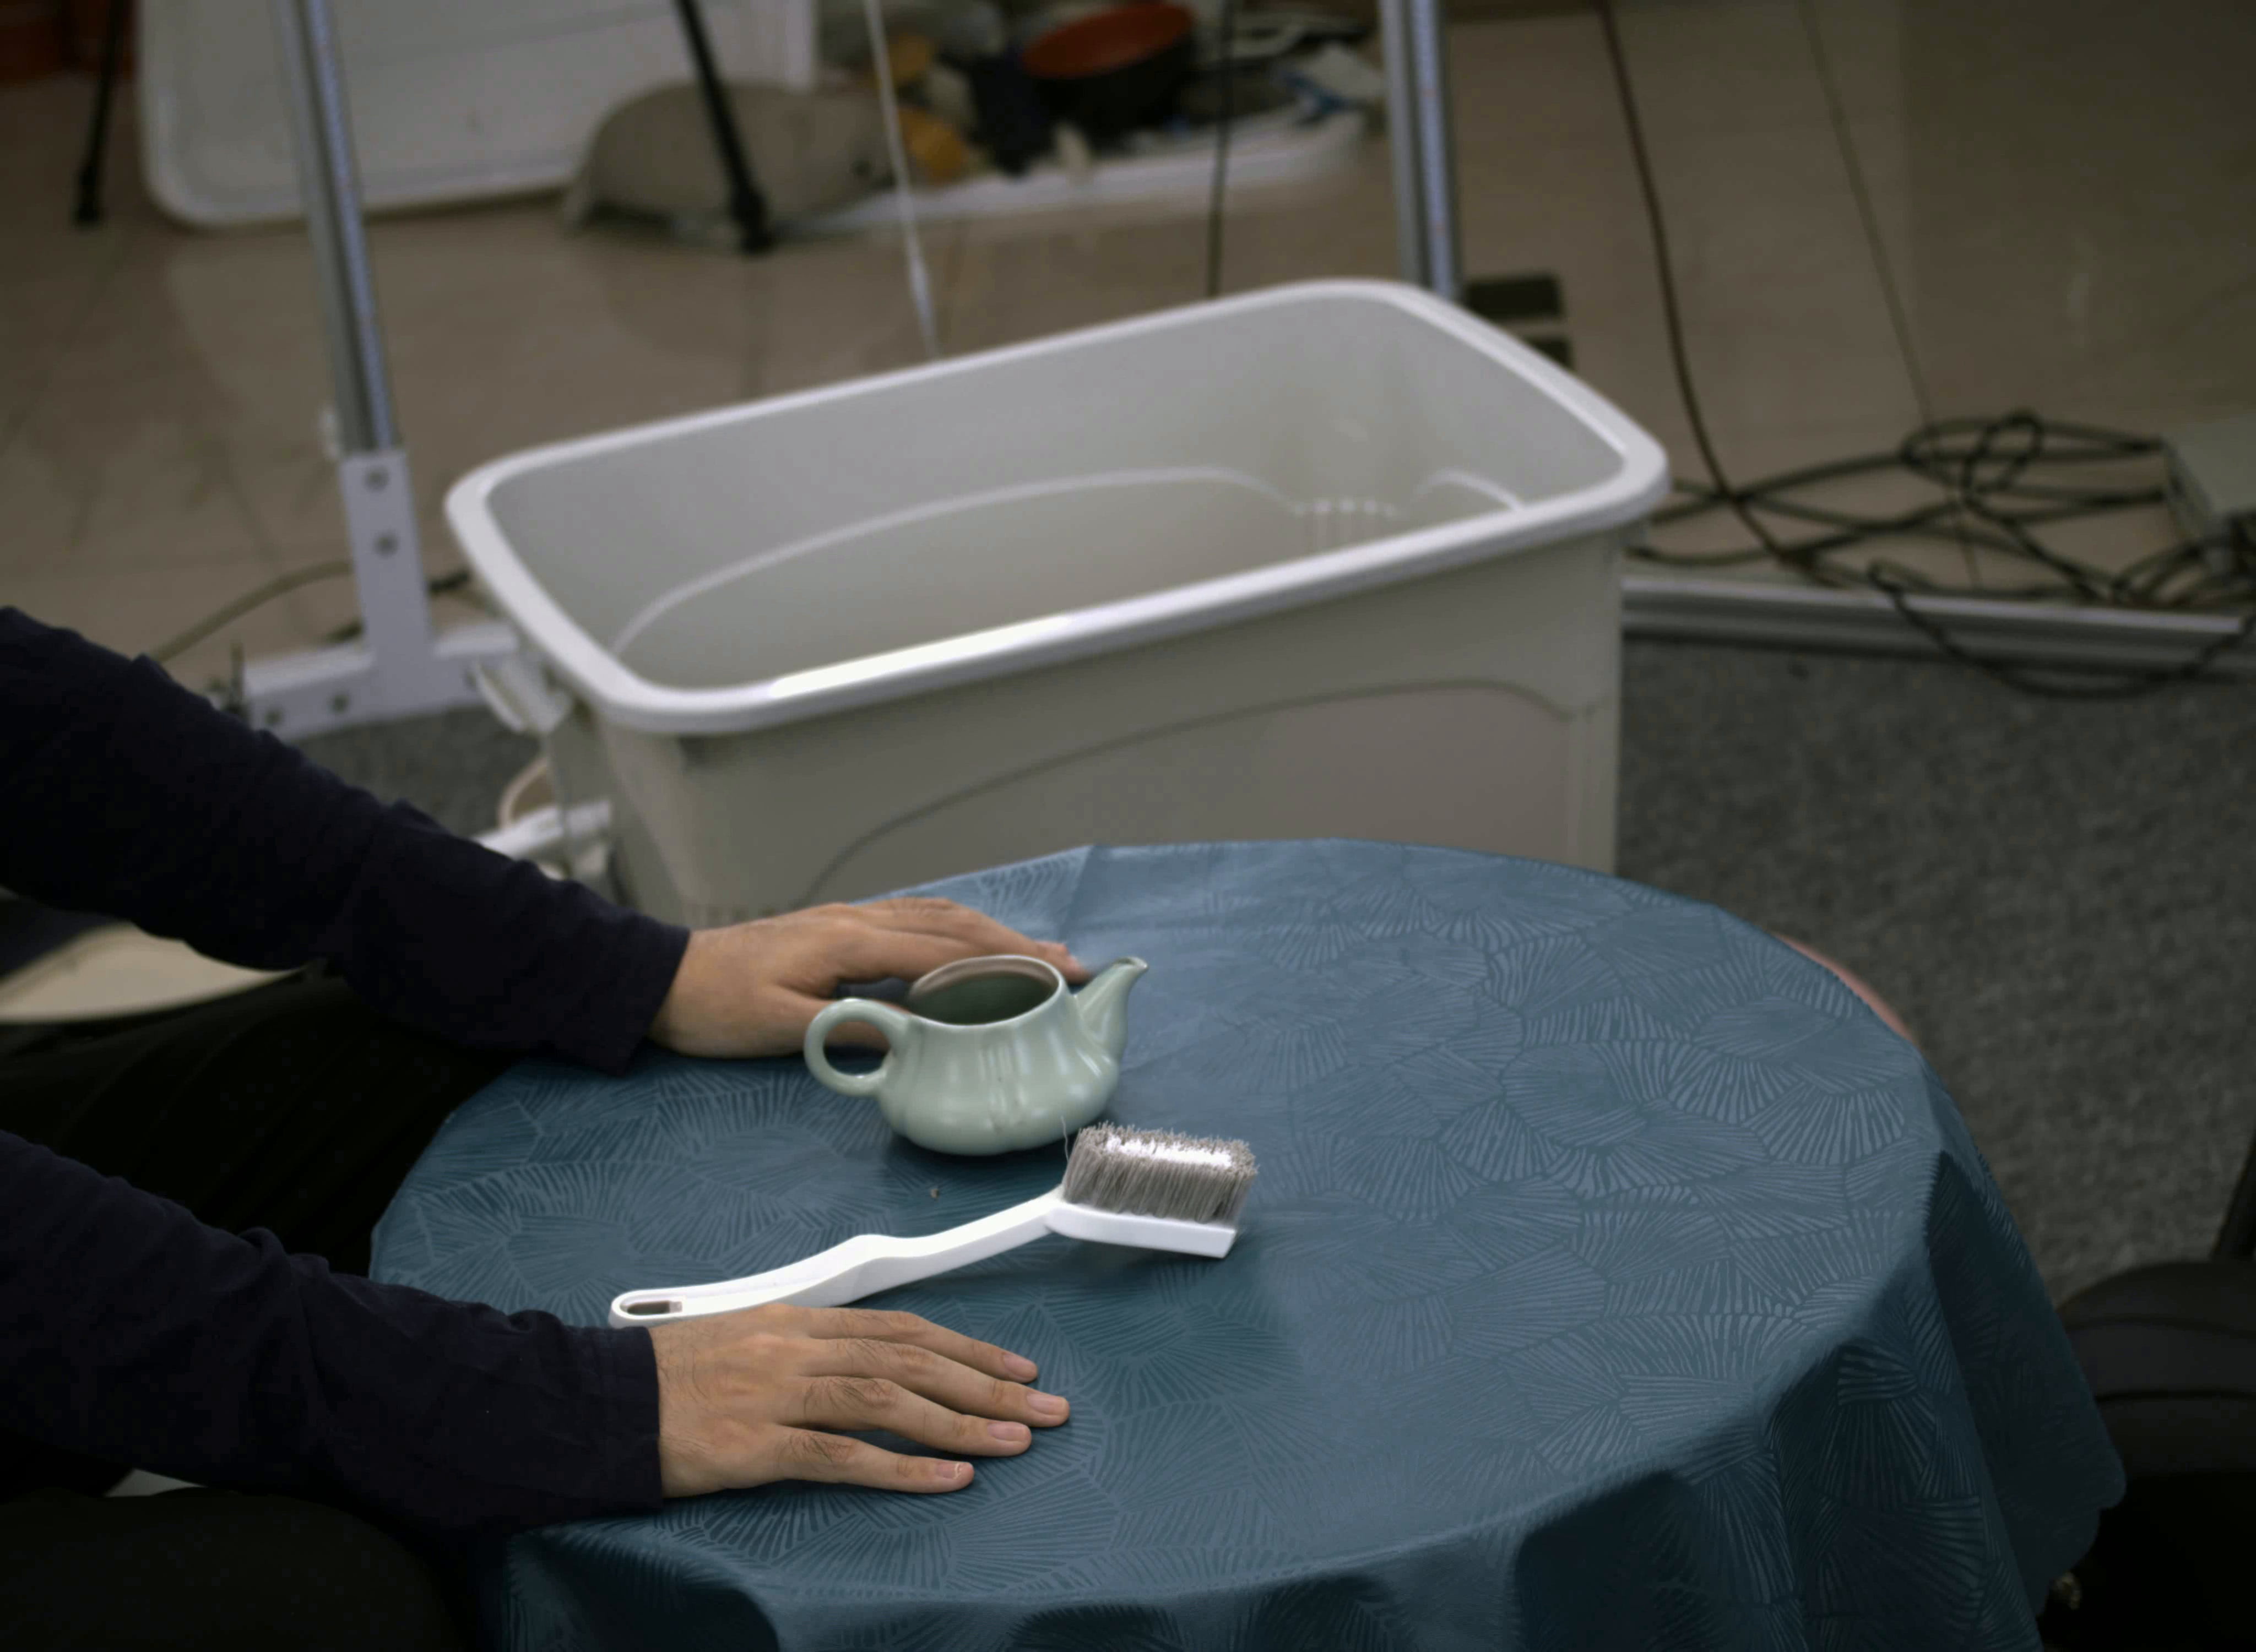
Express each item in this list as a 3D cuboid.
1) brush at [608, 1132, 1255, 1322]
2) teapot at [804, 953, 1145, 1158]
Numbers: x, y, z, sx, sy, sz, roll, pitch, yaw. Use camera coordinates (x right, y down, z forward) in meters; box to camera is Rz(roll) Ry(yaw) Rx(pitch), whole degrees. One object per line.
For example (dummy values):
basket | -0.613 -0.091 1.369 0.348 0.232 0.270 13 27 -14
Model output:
brush | -0.074 0.147 2.093 0.243 0.051 0.034 -6 30 0
teapot | -0.057 0.088 2.199 0.136 0.062 0.095 -9 28 -8
